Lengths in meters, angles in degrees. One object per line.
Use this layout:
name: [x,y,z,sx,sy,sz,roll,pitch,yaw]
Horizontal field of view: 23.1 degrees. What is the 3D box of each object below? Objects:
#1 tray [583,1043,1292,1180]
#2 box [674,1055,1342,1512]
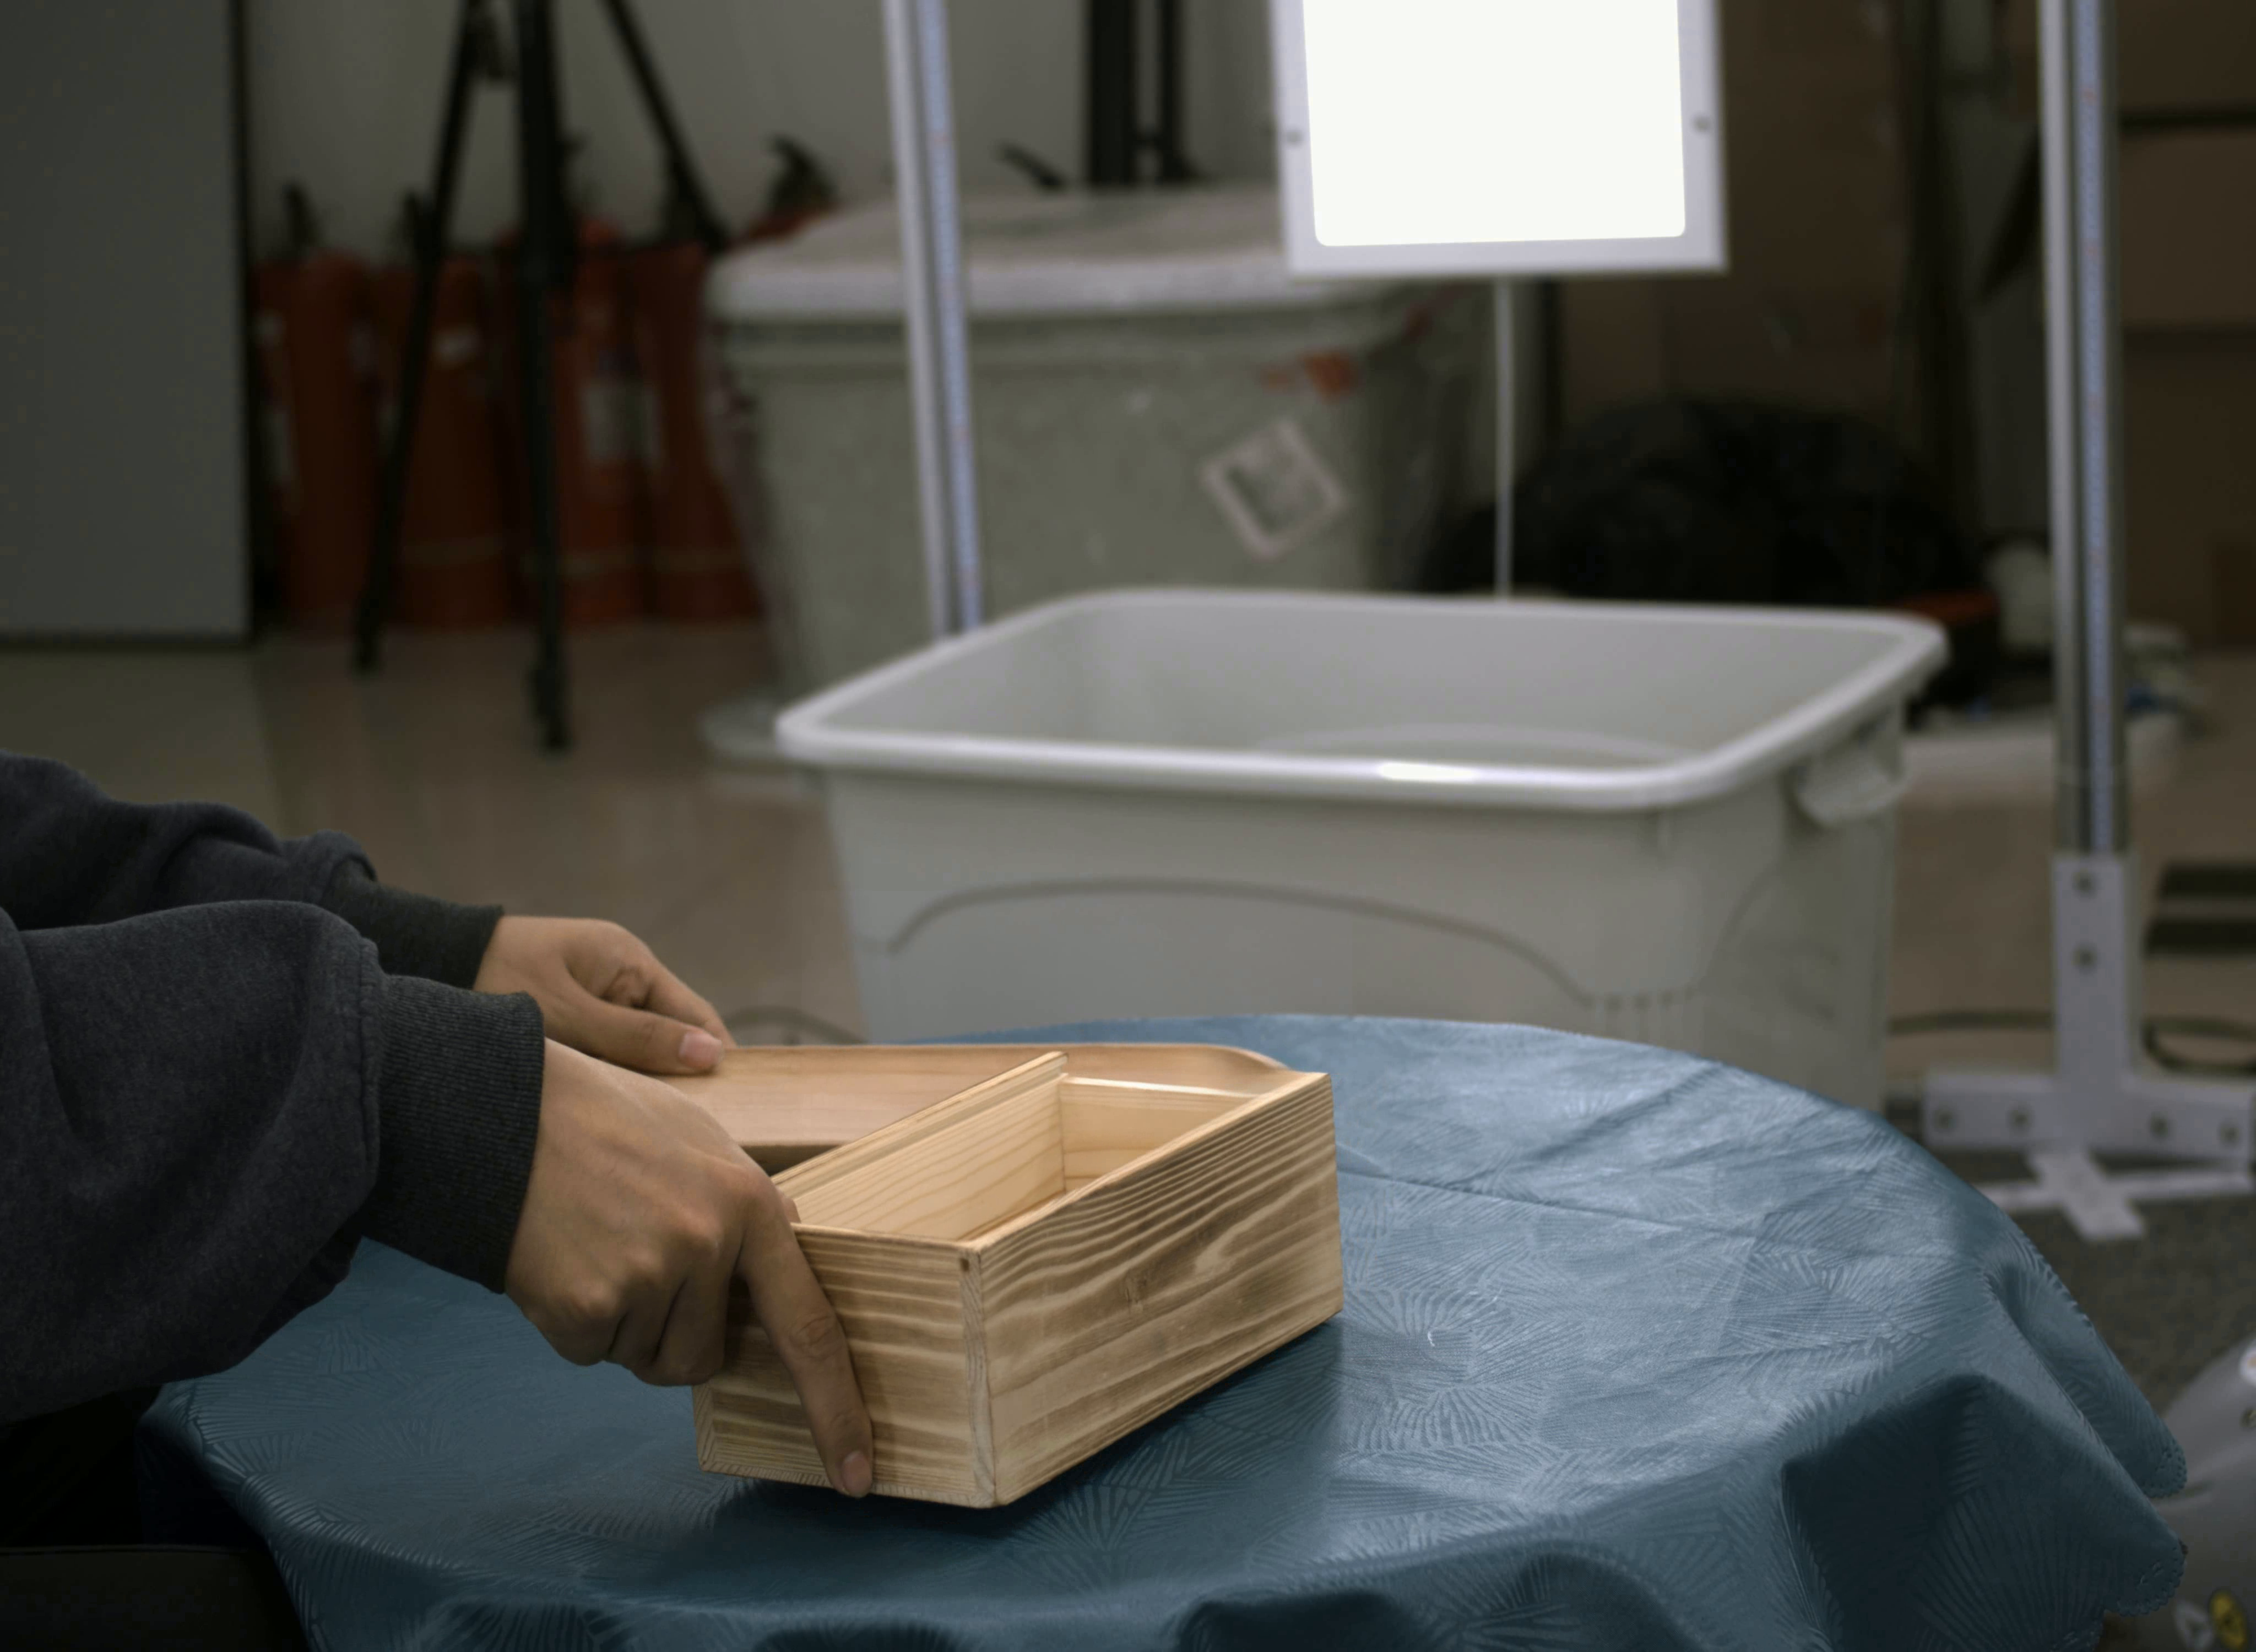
tray: [-0.063,0.100,1.934,0.248,0.023,0.131,-1,10,-9]
box: [-0.033,0.135,1.686,0.109,0.080,0.206,3,14,32]
